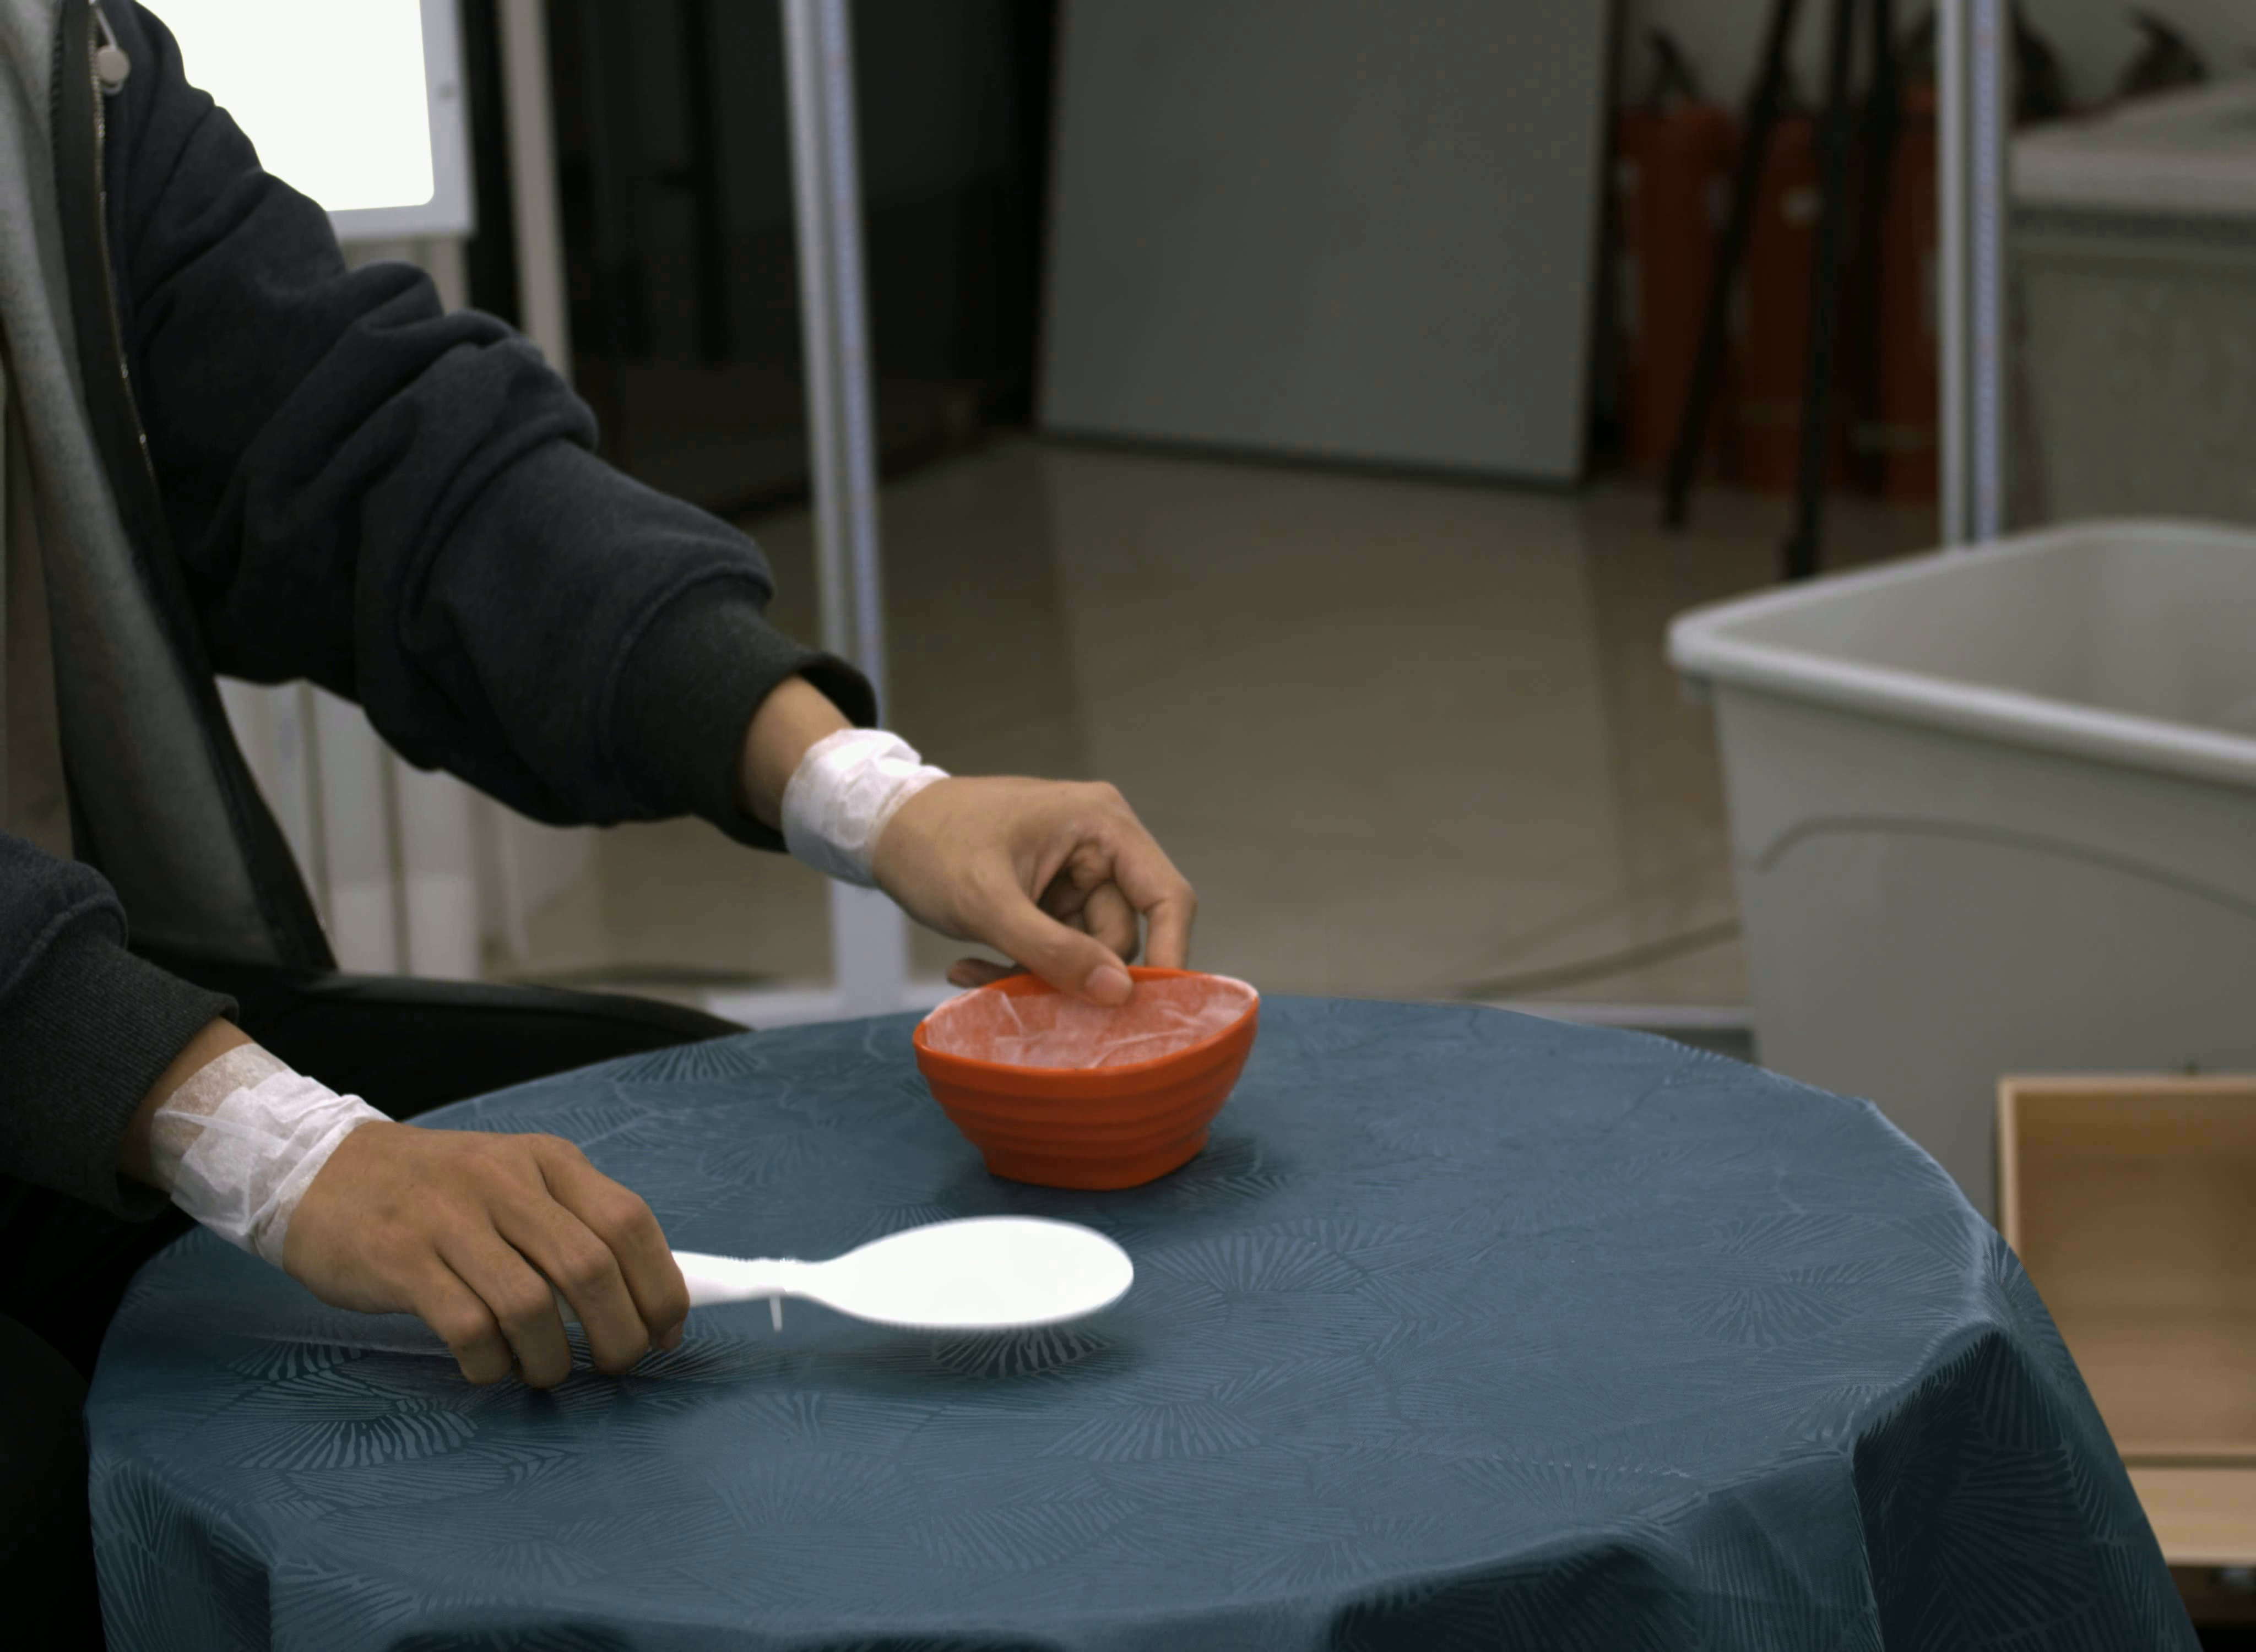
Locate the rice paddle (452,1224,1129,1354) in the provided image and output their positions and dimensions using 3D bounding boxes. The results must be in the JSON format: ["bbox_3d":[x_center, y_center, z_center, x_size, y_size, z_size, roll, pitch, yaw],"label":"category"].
[{"bbox_3d":[-0.101,0.138,1.626,0.203,0.030,0.069,-3,23,3],"label":"rice paddle"}]

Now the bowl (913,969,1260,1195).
[{"bbox_3d":[-0.012,0.087,1.798,0.117,0.052,0.119,-4,15,0],"label":"bowl"}]
